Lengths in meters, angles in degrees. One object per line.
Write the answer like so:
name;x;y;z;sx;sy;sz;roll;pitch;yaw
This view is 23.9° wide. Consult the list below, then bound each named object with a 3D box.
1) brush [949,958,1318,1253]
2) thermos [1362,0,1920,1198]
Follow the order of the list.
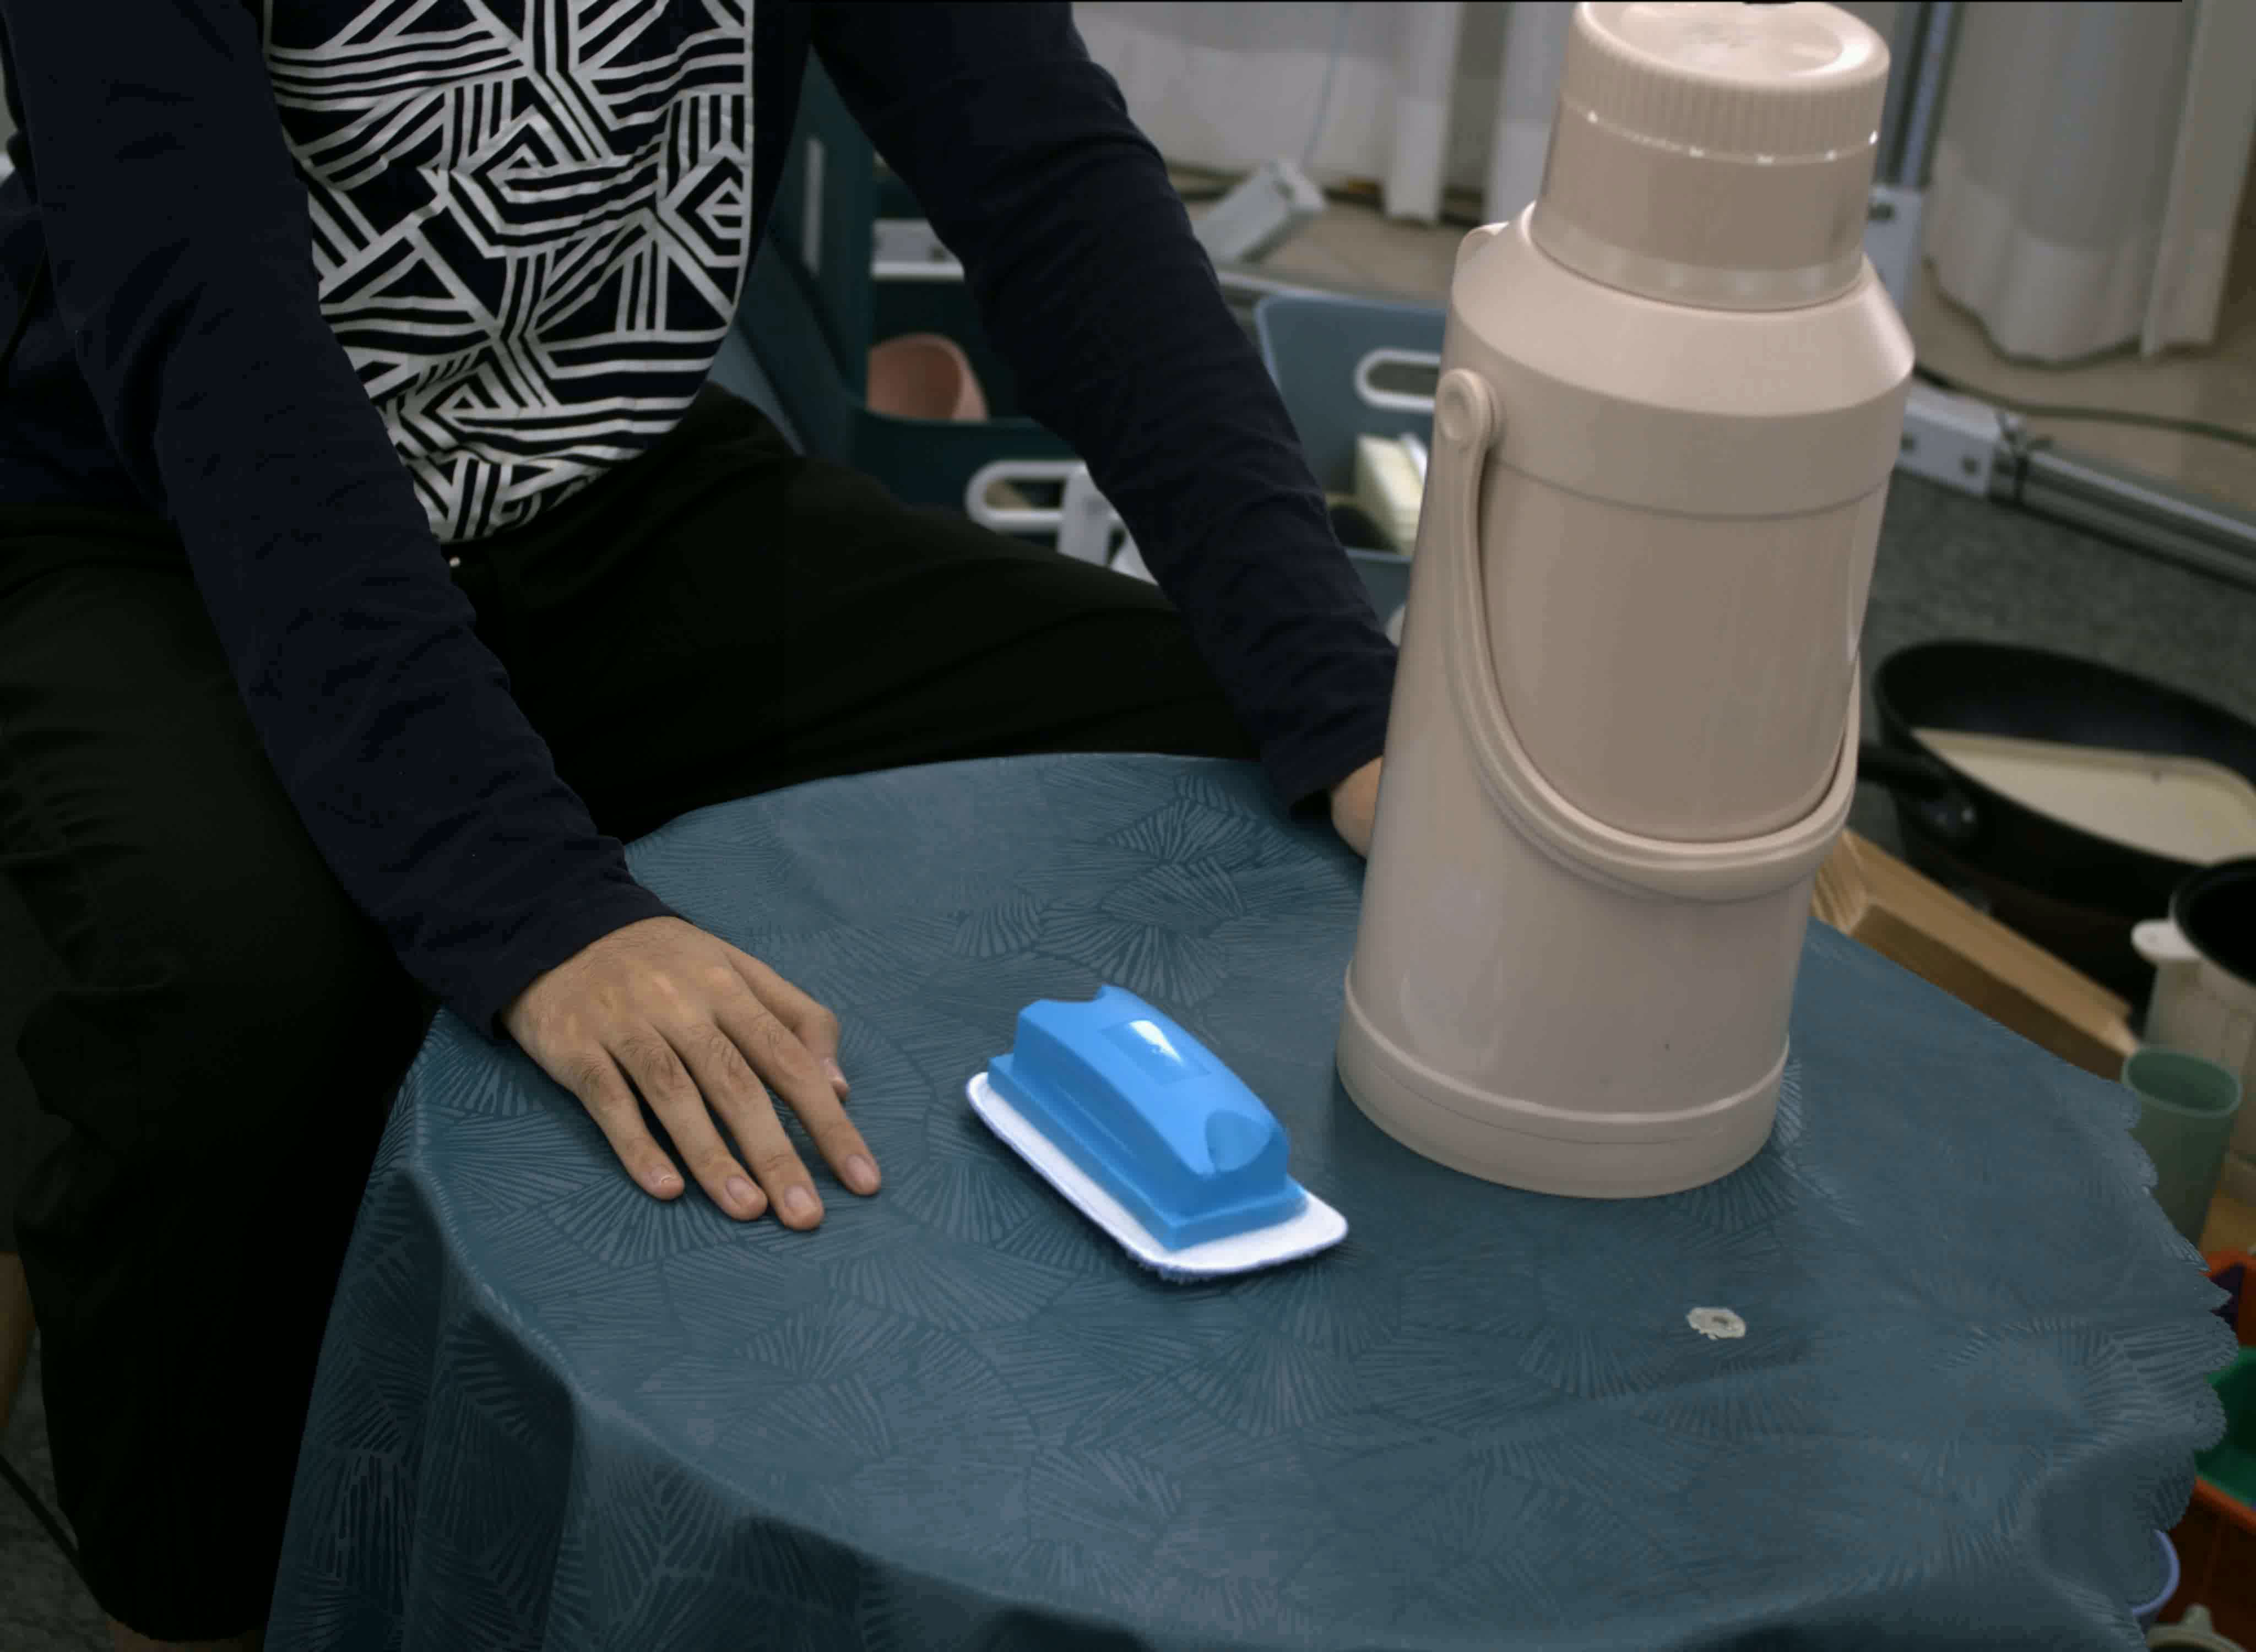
brush;0.005;0.090;1.804;0.083;0.056;0.145;-6;33;-31
thermos;0.172;-0.089;1.826;0.174;0.405;0.209;-11;31;-28
